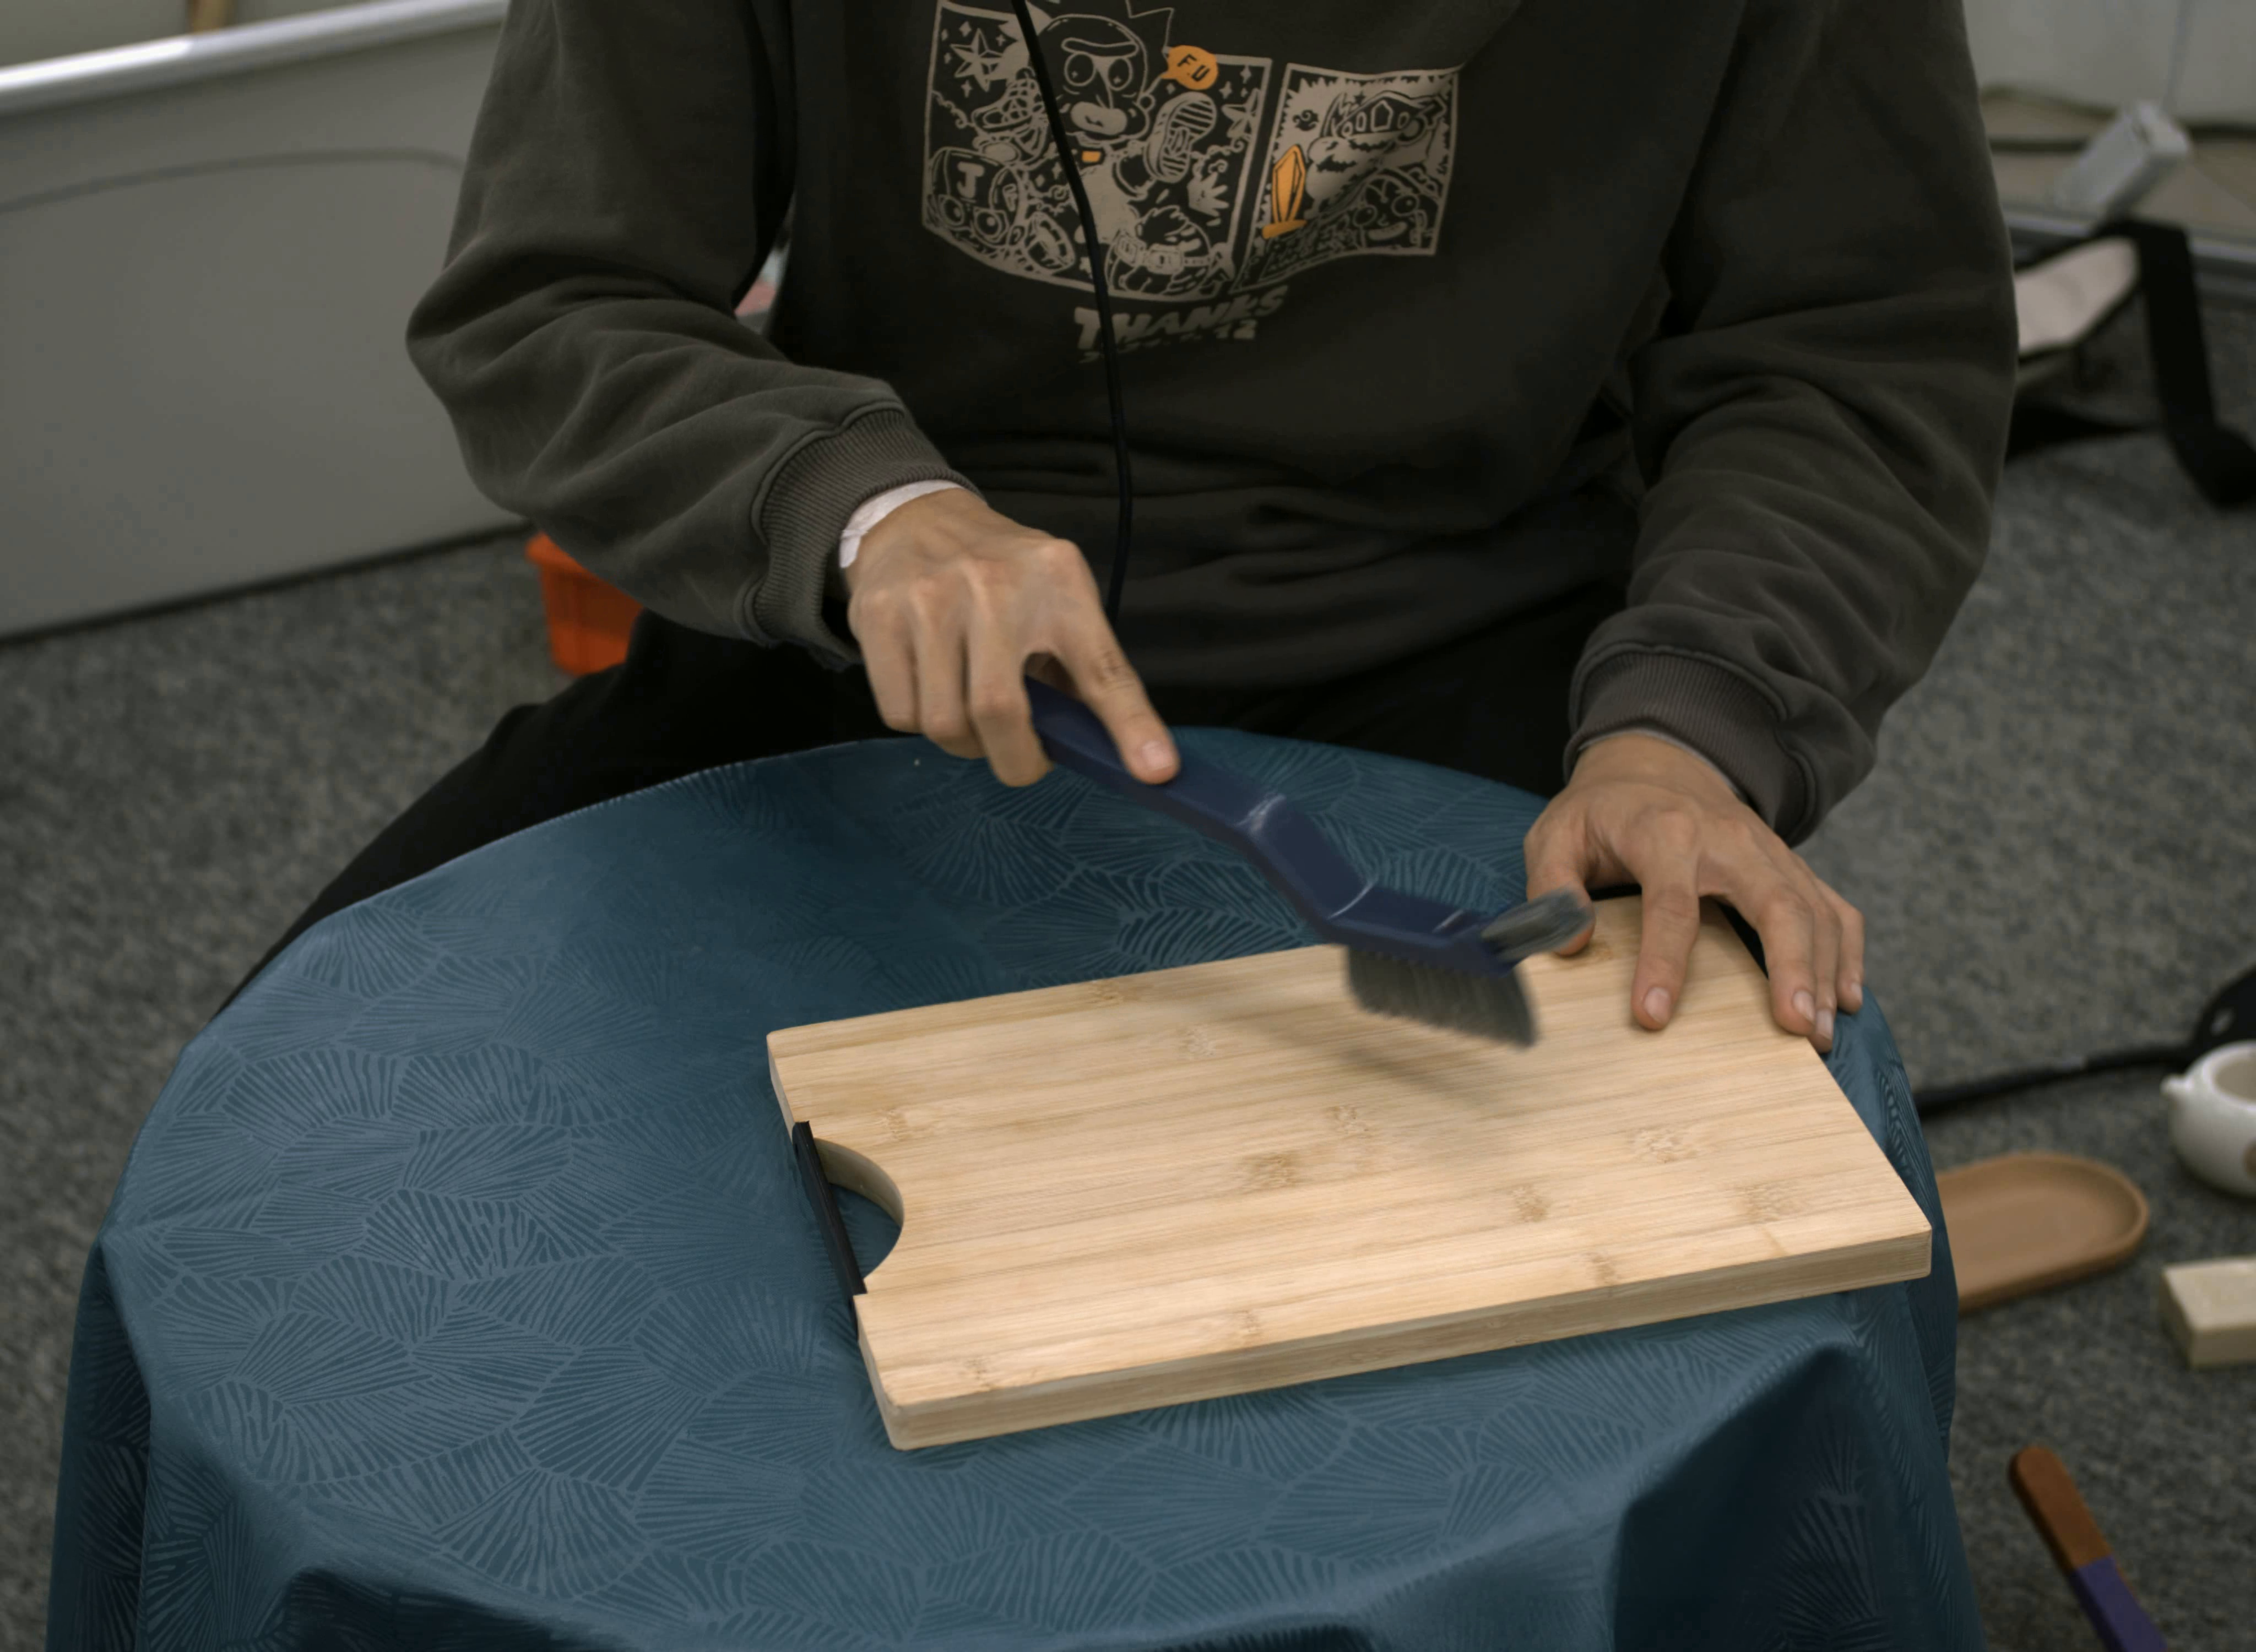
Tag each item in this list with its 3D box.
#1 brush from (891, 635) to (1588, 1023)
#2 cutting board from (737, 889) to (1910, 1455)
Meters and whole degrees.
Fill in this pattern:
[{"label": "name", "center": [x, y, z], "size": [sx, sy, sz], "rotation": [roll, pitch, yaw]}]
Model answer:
[{"label": "brush", "center": [0.035, -0.013, 1.898], "size": [0.273, 0.094, 0.034], "rotation": [31, 50, 22]}, {"label": "cutting board", "center": [0.060, 0.109, 1.861], "size": [0.348, 0.023, 0.253], "rotation": [-9, 28, -11]}]
